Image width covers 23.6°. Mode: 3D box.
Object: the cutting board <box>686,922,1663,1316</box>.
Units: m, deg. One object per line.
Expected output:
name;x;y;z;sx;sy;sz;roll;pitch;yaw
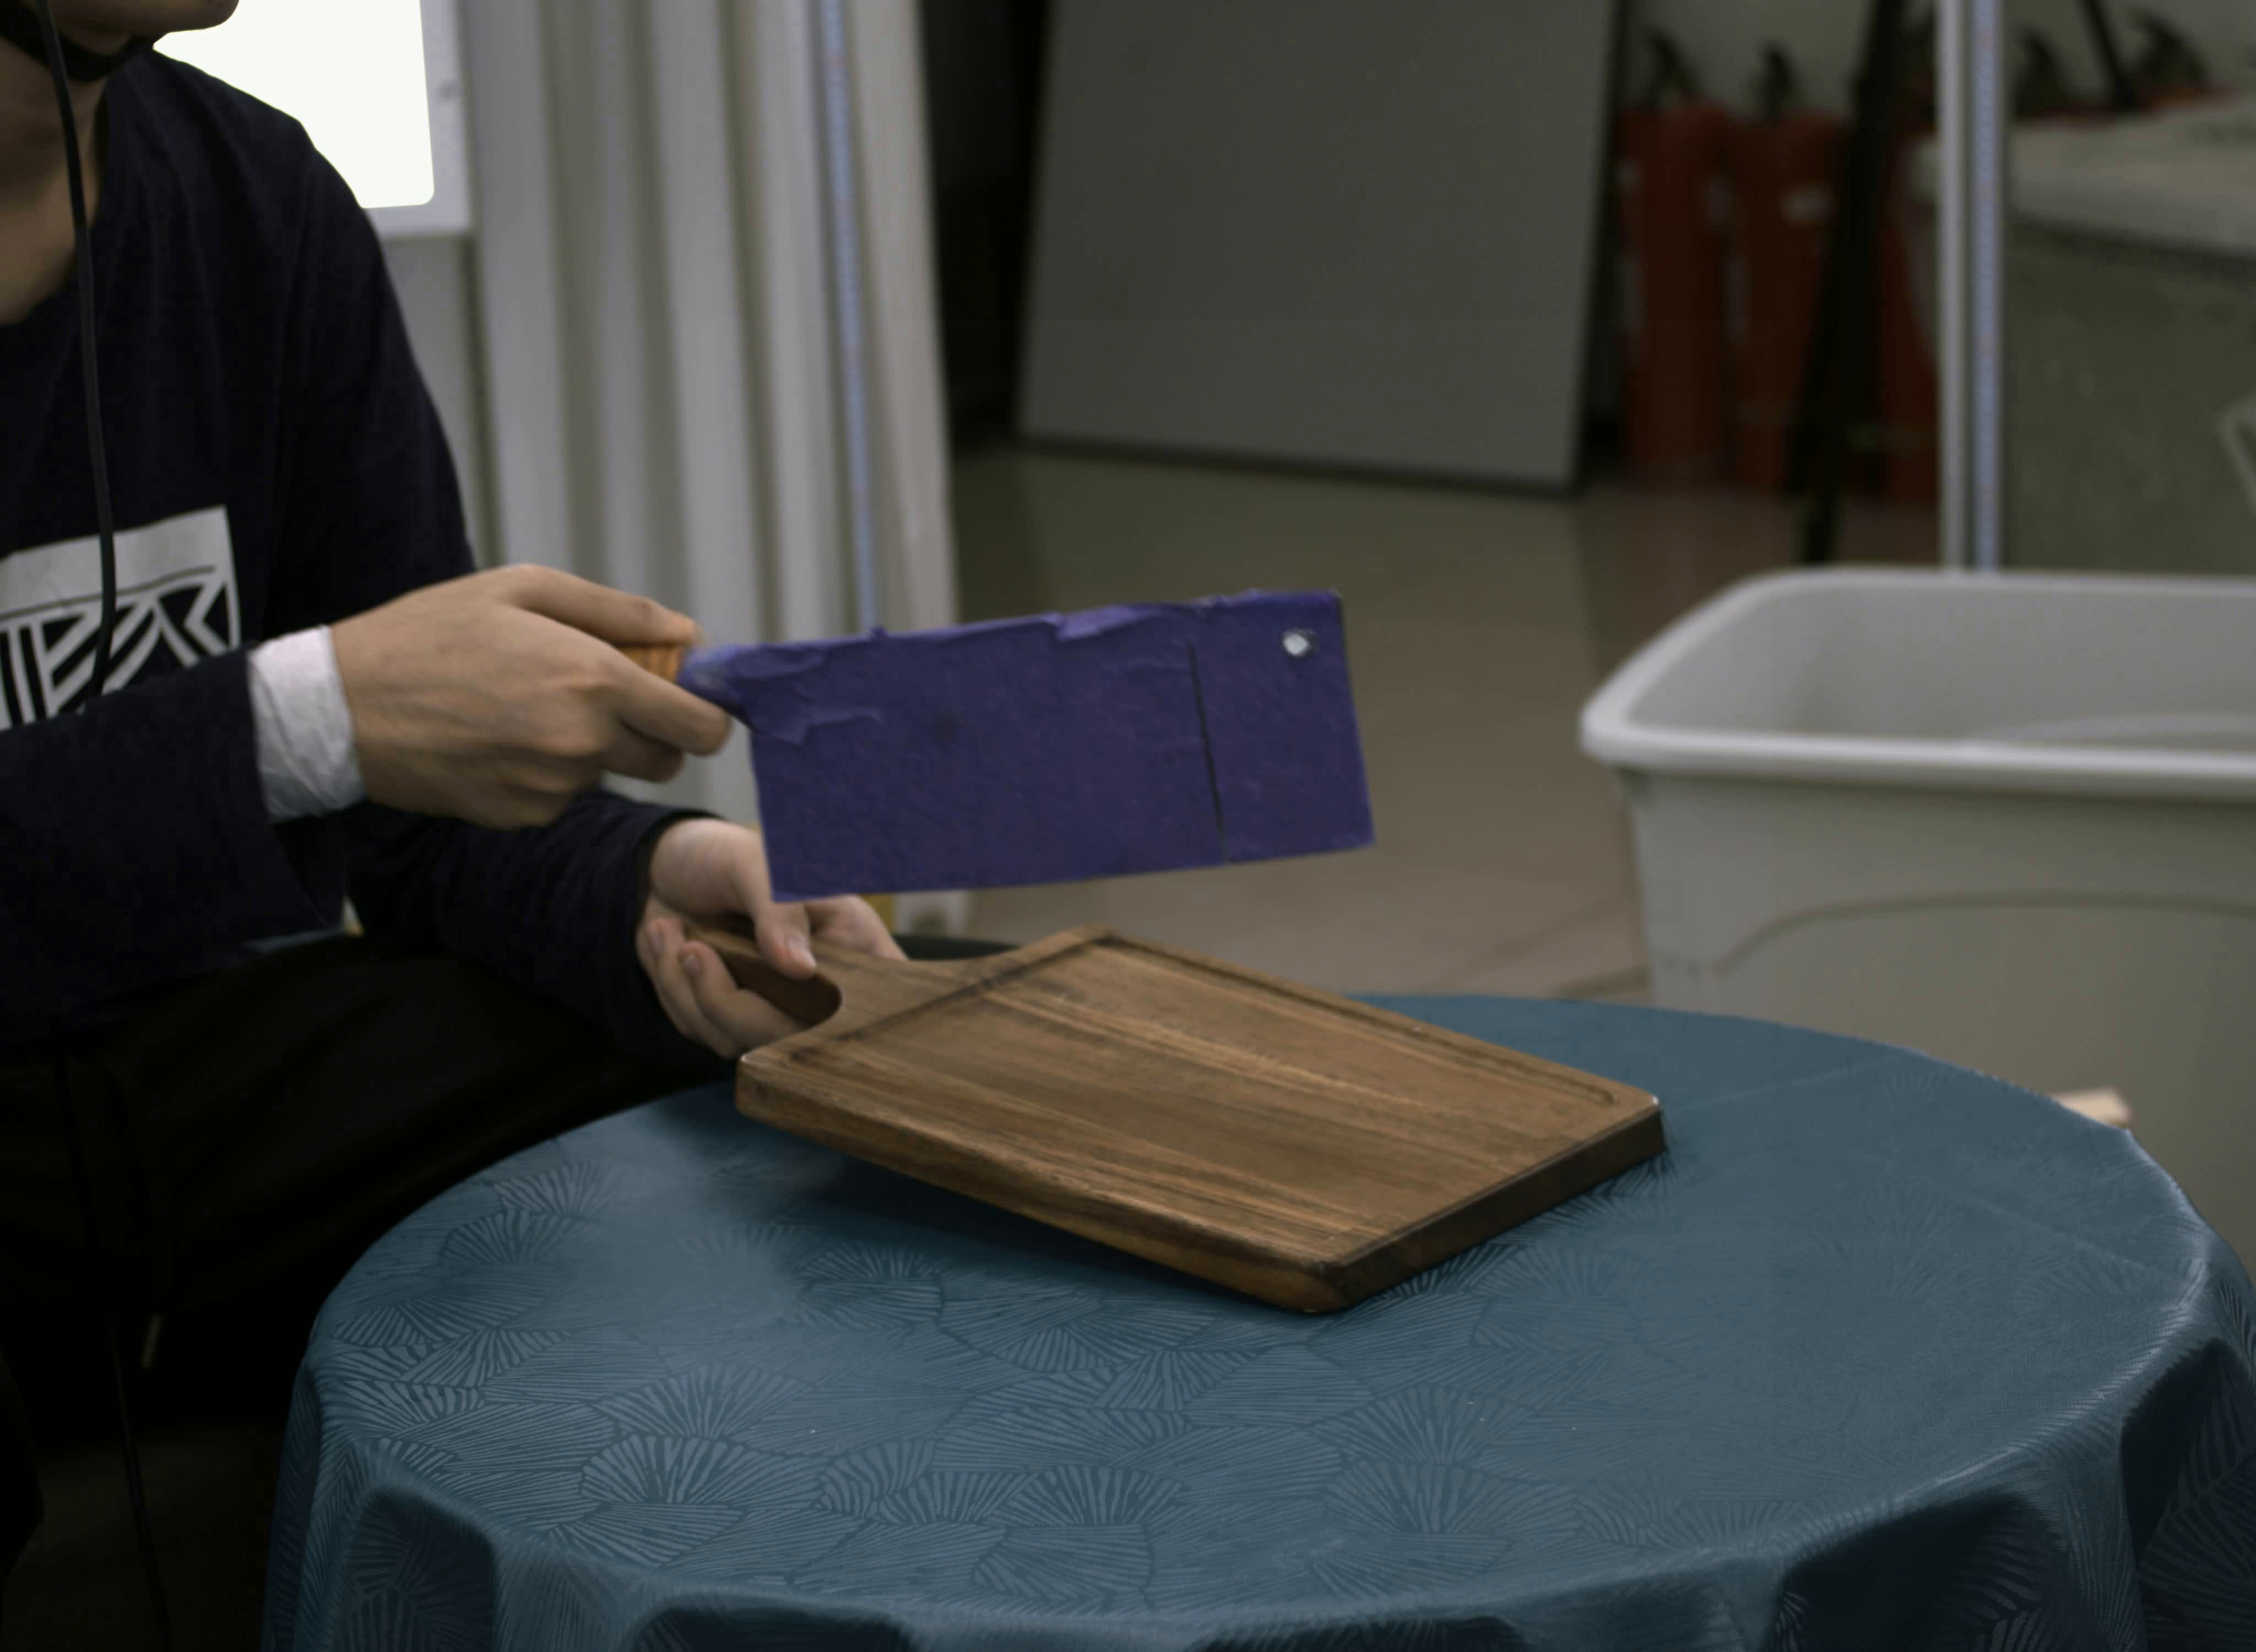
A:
cutting board;-0.014;0.082;1.808;0.355;0.023;0.197;15;23;37

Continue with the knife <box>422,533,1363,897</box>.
knife;-0.079;-0.026;1.792;0.314;0.105;0.032;-7;9;15
